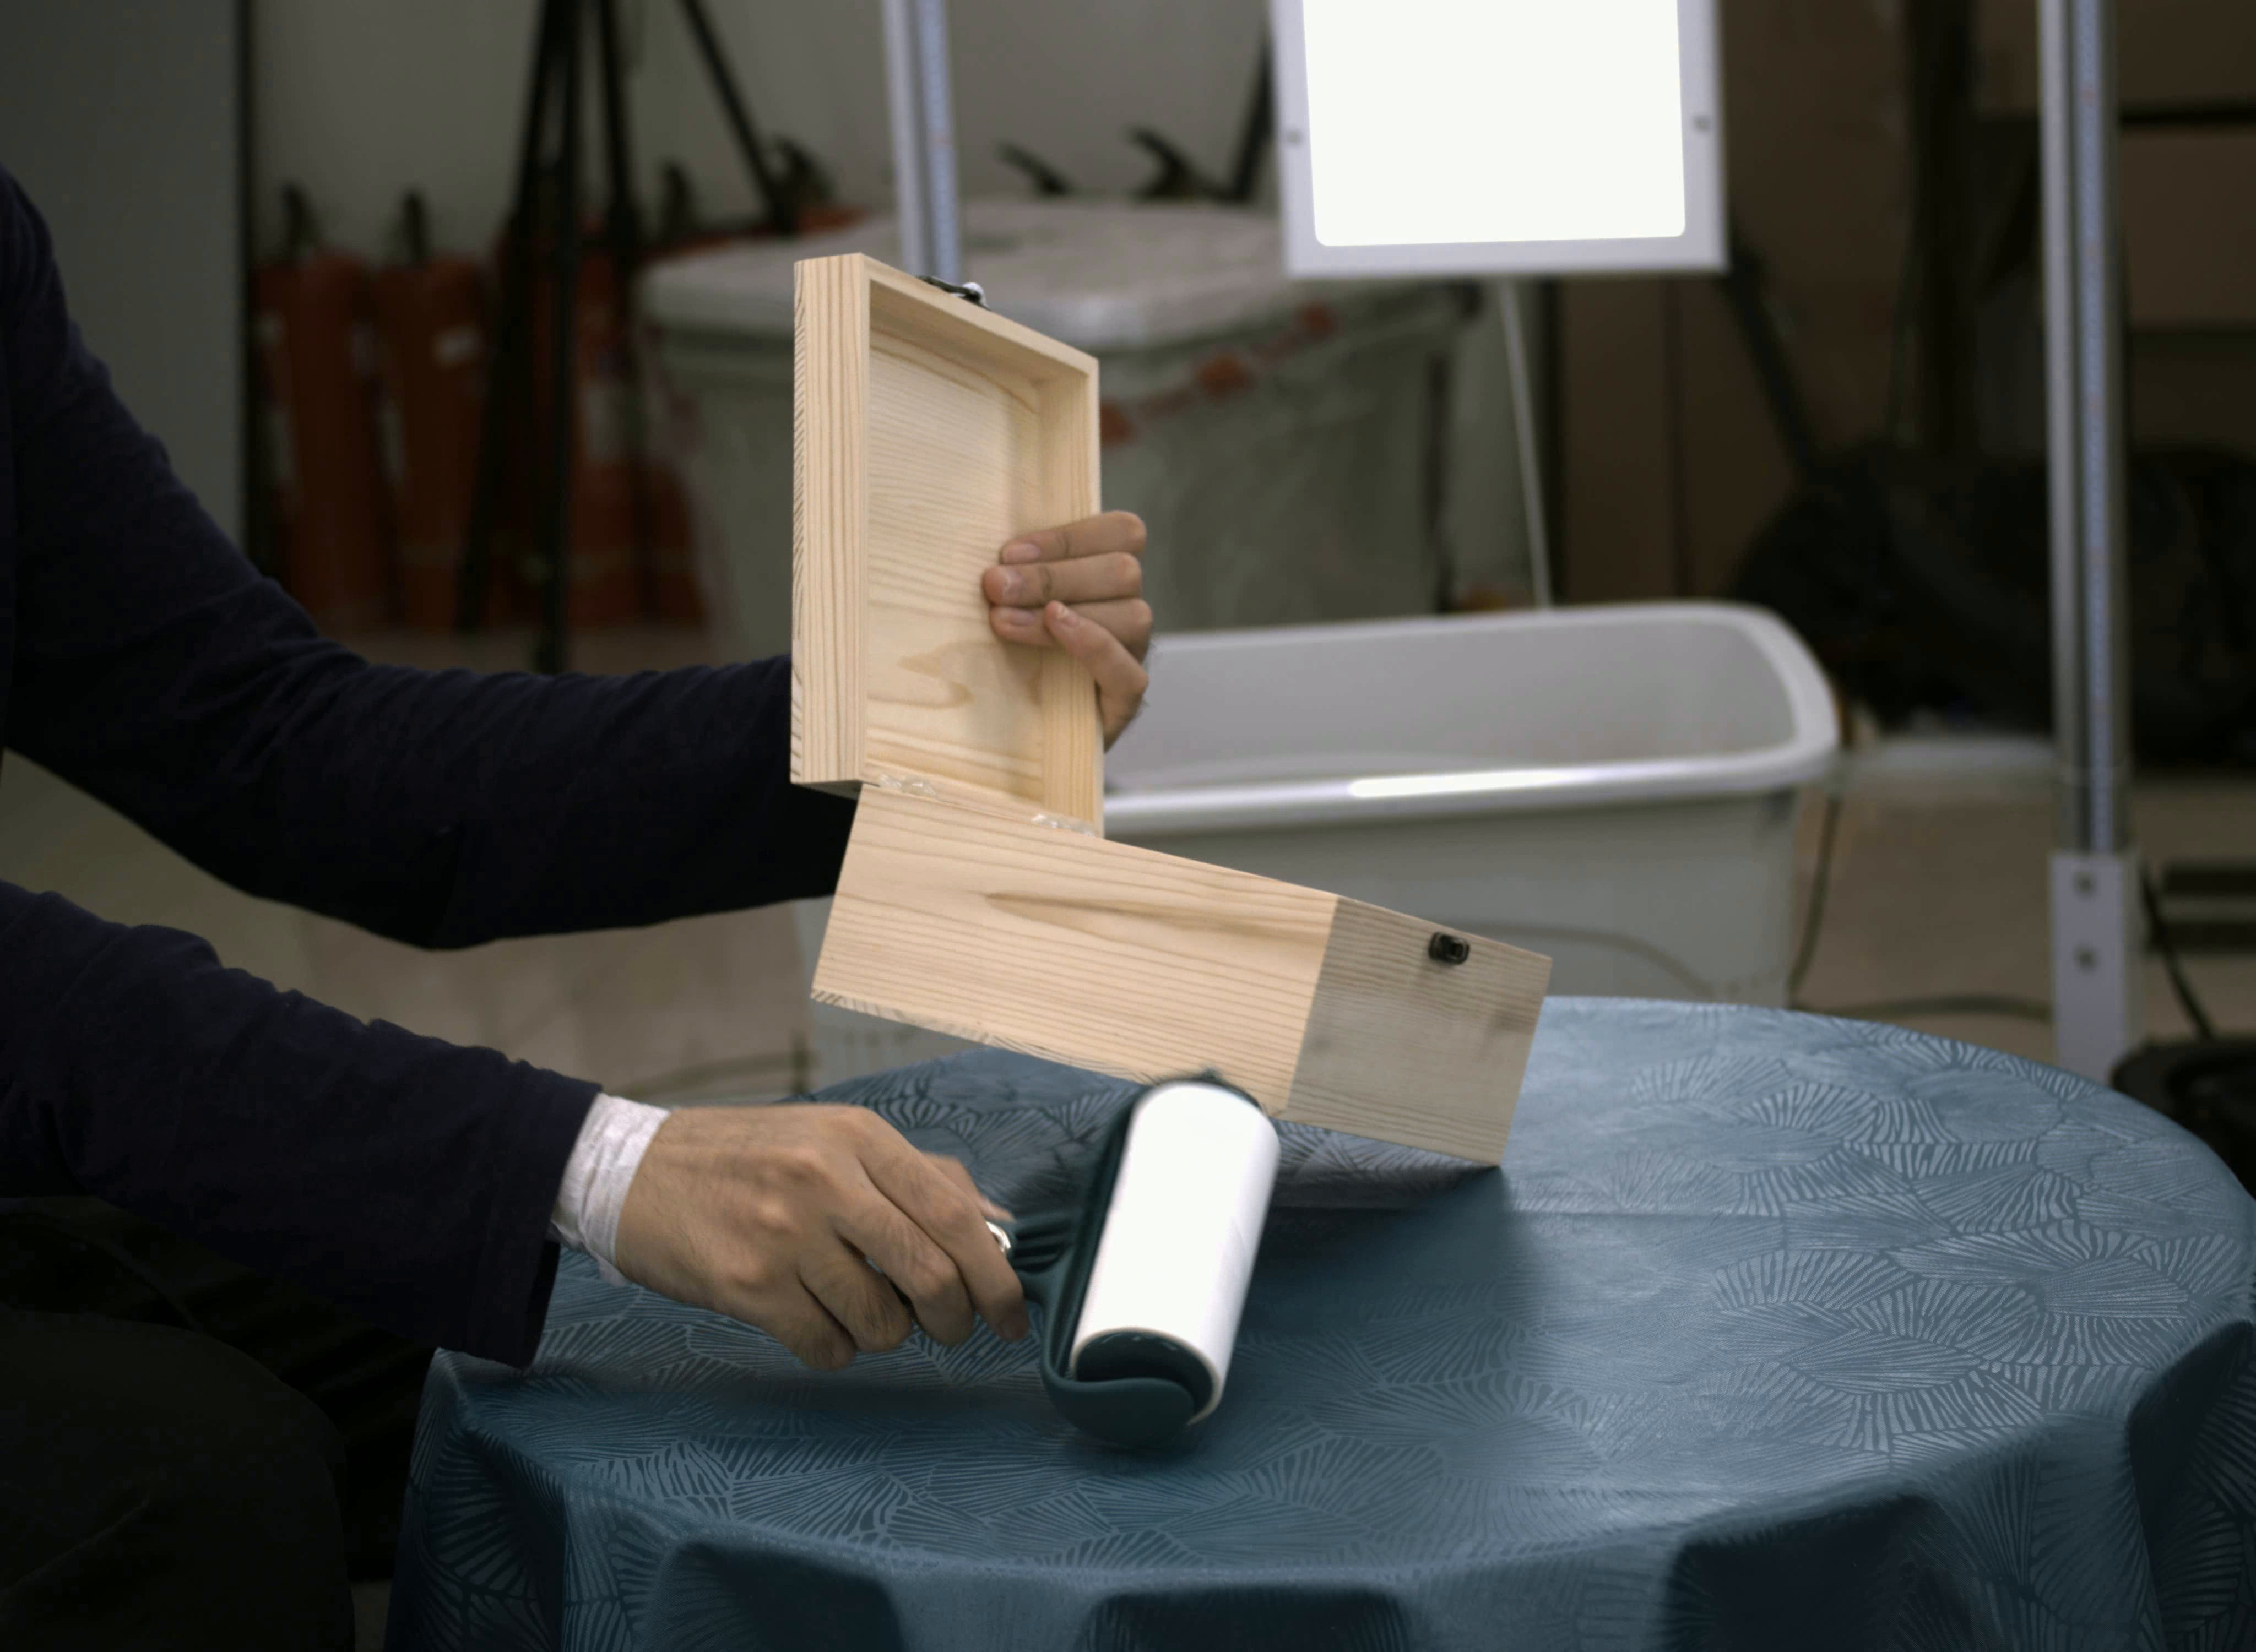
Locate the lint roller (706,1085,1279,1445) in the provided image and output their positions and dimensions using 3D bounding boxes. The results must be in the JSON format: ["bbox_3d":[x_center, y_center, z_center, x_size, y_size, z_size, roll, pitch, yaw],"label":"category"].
[{"bbox_3d":[-0.048,0.134,1.705,0.182,0.048,0.133,0,39,16],"label":"lint roller"}]

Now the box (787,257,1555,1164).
[{"bbox_3d":[0.012,-0.040,1.880,0.269,0.254,0.178,13,1,28],"label":"box"}]
